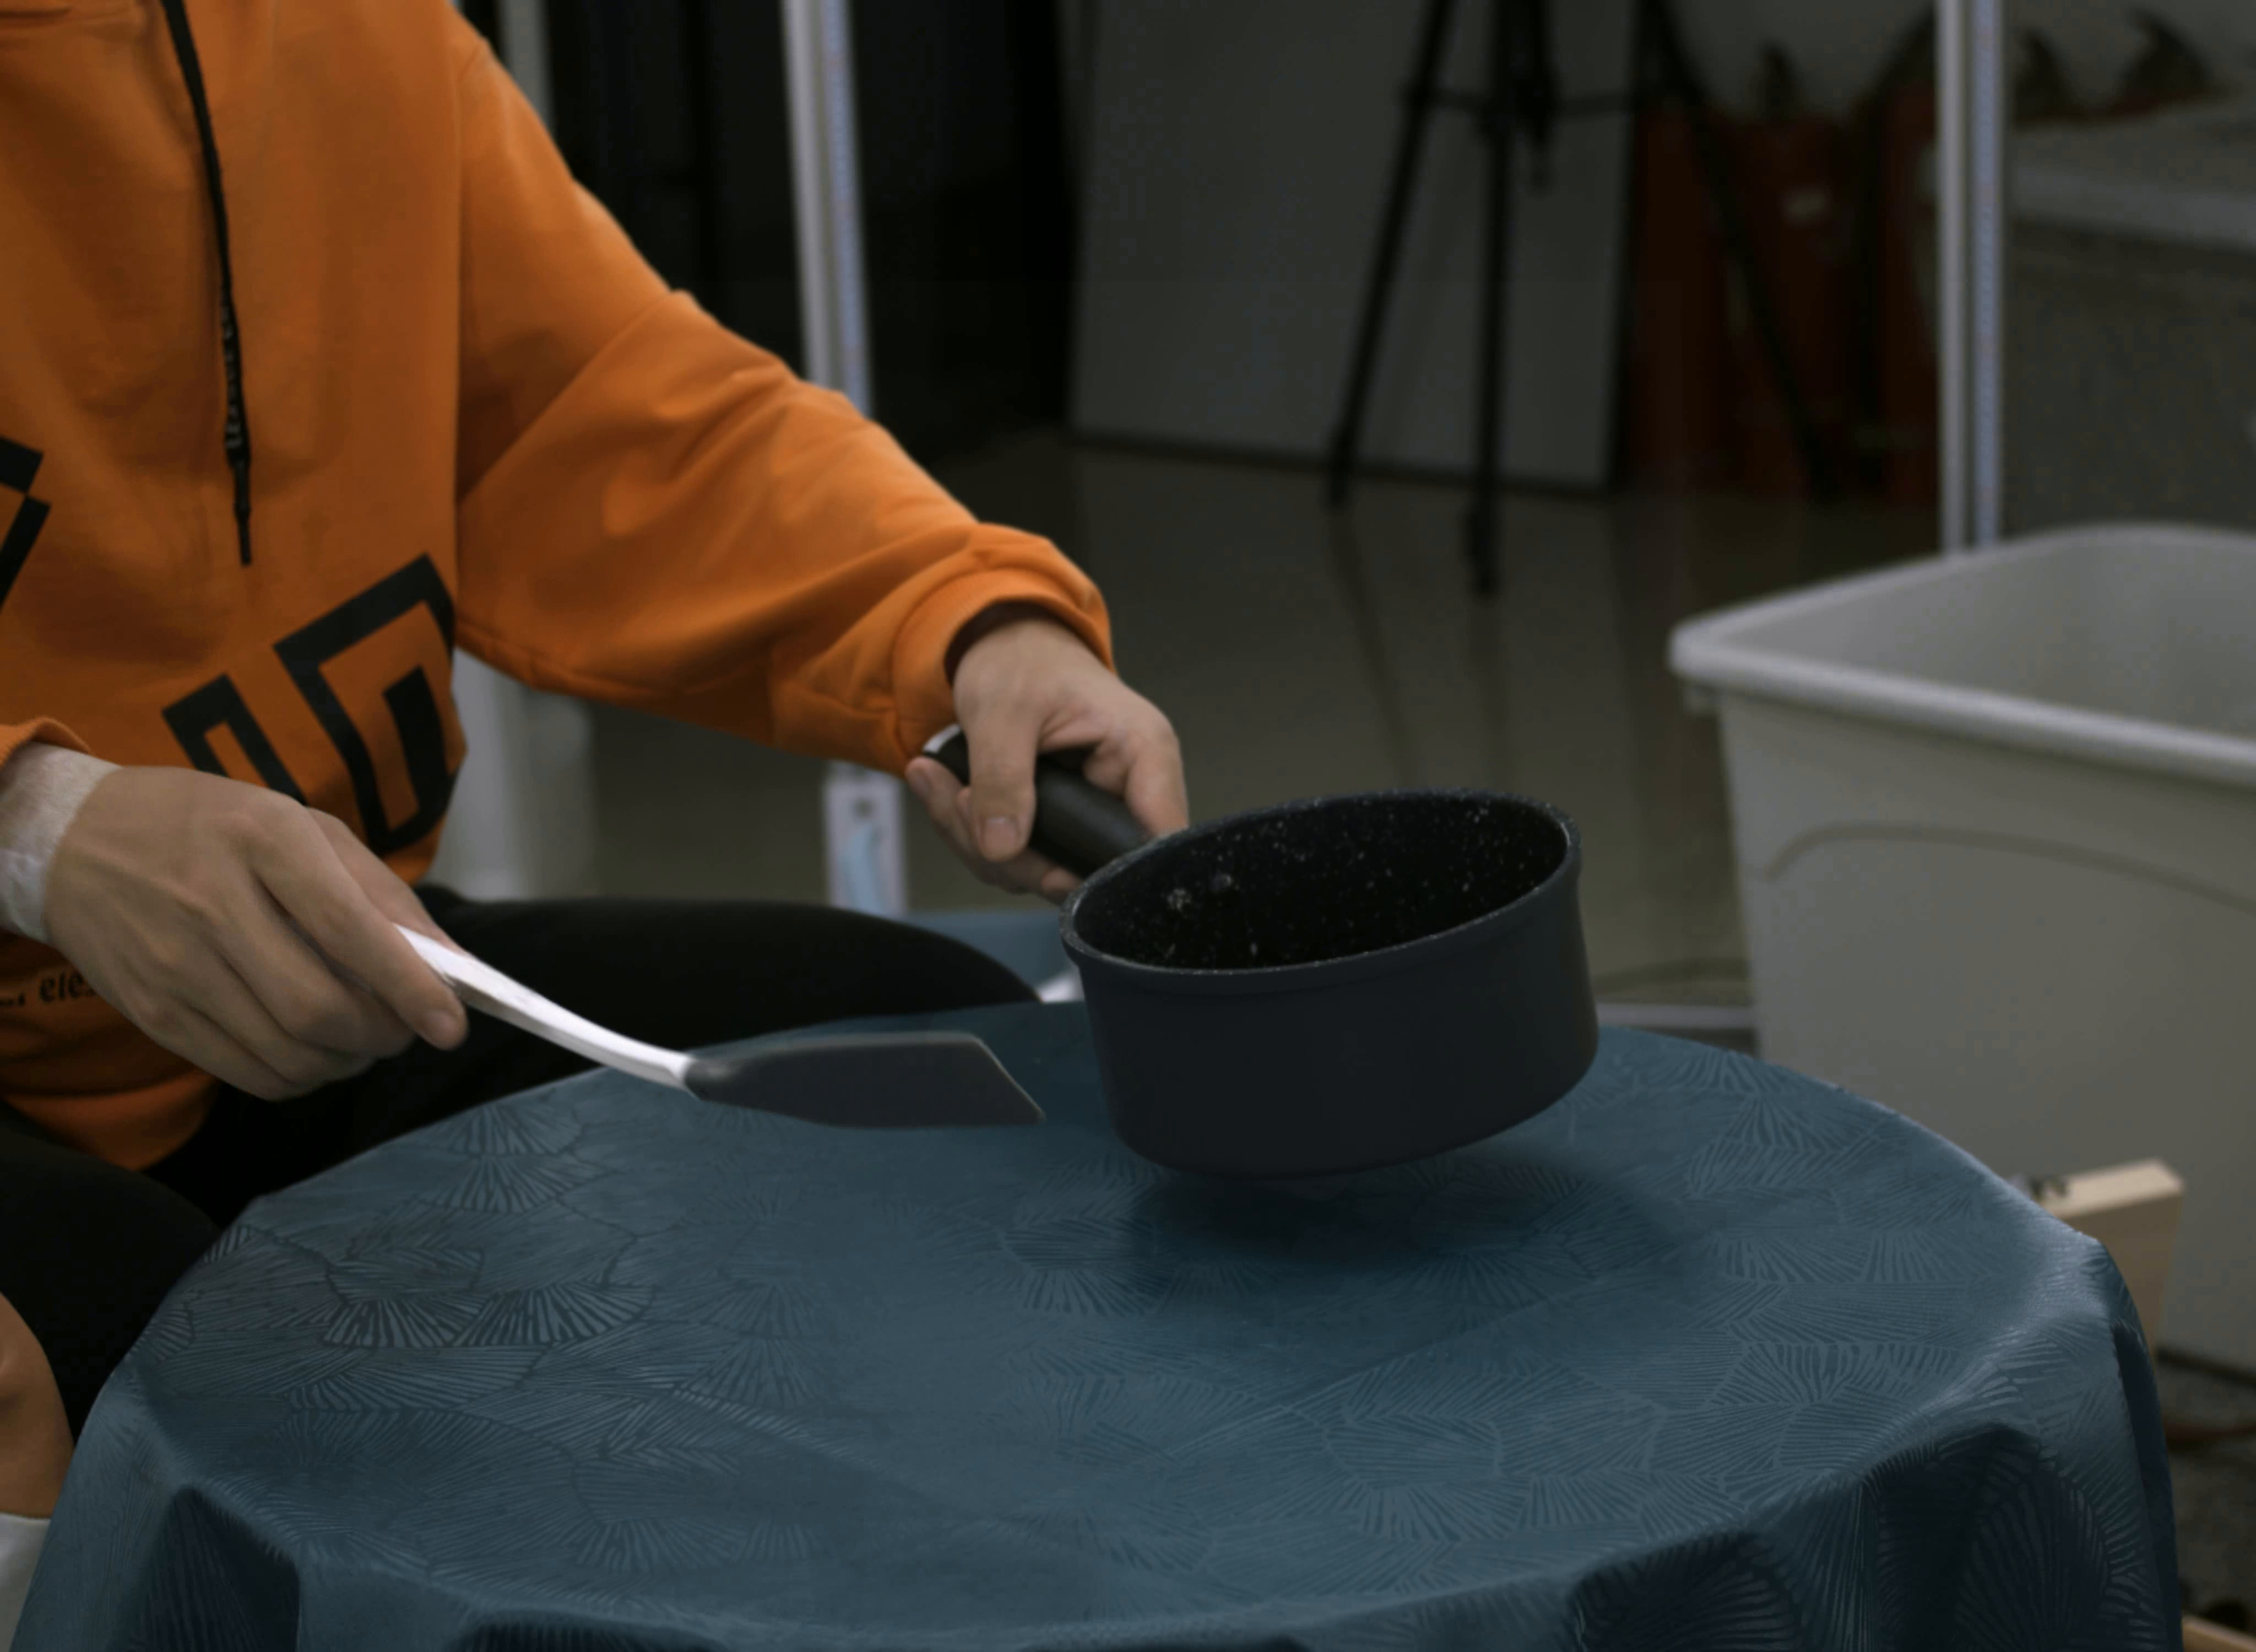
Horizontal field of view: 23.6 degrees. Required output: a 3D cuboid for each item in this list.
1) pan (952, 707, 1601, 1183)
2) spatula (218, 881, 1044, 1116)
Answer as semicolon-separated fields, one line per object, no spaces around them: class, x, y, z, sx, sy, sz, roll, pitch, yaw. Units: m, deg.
pan;0.030;0.032;1.804;0.168;0.087;0.332;-18;19;-24
spatula;-0.151;0.054;1.581;0.289;0.058;0.032;10;60;34
